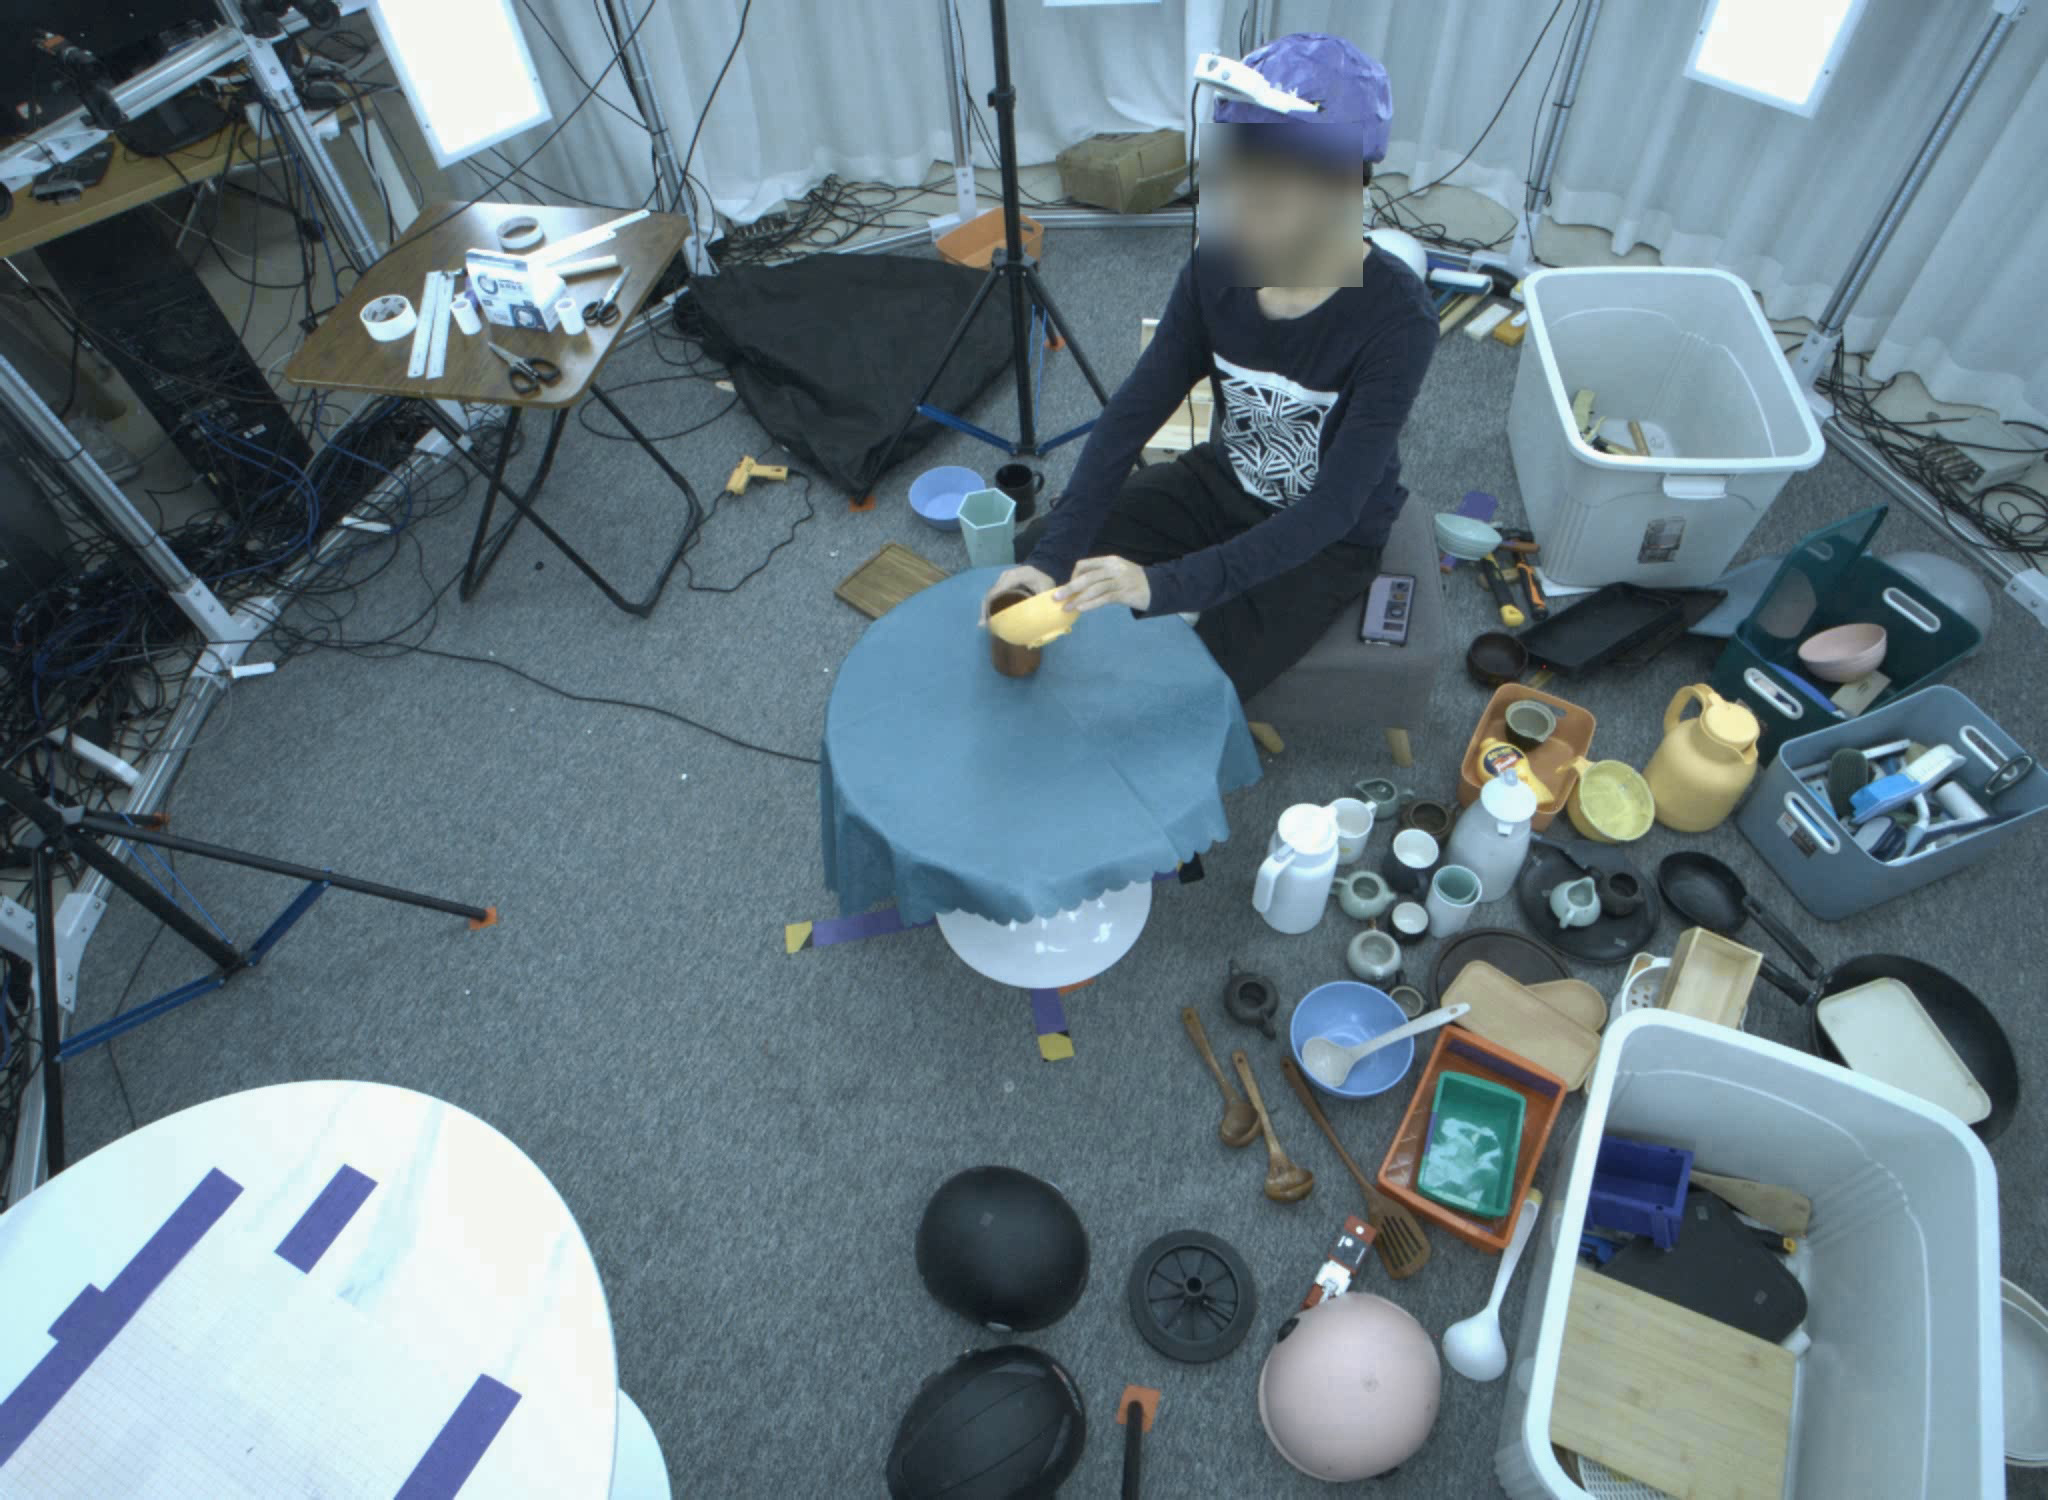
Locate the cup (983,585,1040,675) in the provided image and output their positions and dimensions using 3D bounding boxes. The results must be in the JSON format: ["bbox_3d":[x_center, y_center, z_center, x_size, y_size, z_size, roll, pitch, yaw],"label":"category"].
[{"bbox_3d":[-0.018,-0.180,1.835,0.088,0.119,0.087,0,56,1],"label":"cup"}]

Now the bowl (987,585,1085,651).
[{"bbox_3d":[0.026,-0.176,1.706,0.146,0.144,0.060,-21,90,-12],"label":"bowl"}]
